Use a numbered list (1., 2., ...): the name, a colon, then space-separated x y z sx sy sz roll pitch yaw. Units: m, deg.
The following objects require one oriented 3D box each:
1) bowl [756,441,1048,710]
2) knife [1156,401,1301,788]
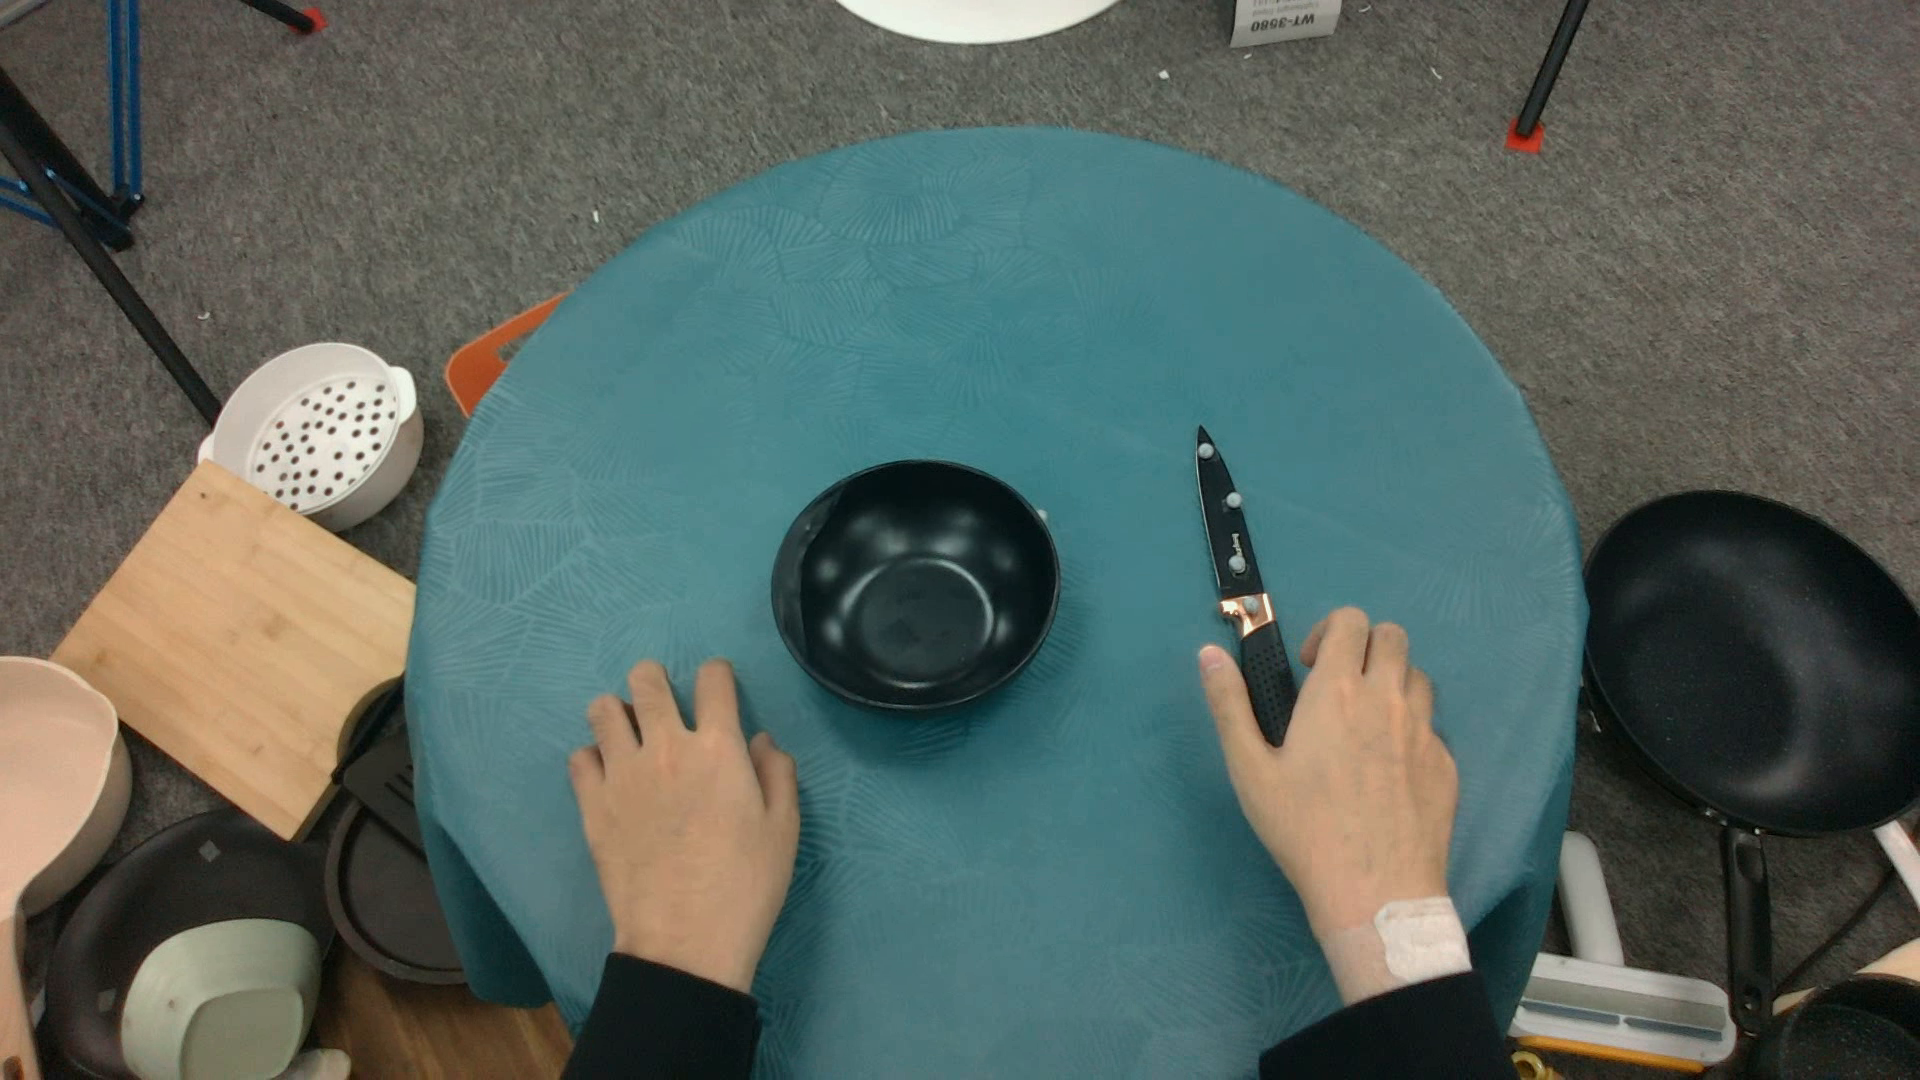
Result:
1. bowl: -0.028 0.023 0.674 0.140 0.049 0.140 0 63 0
2. knife: 0.132 0.018 0.690 0.026 0.017 0.226 -10 58 -1
